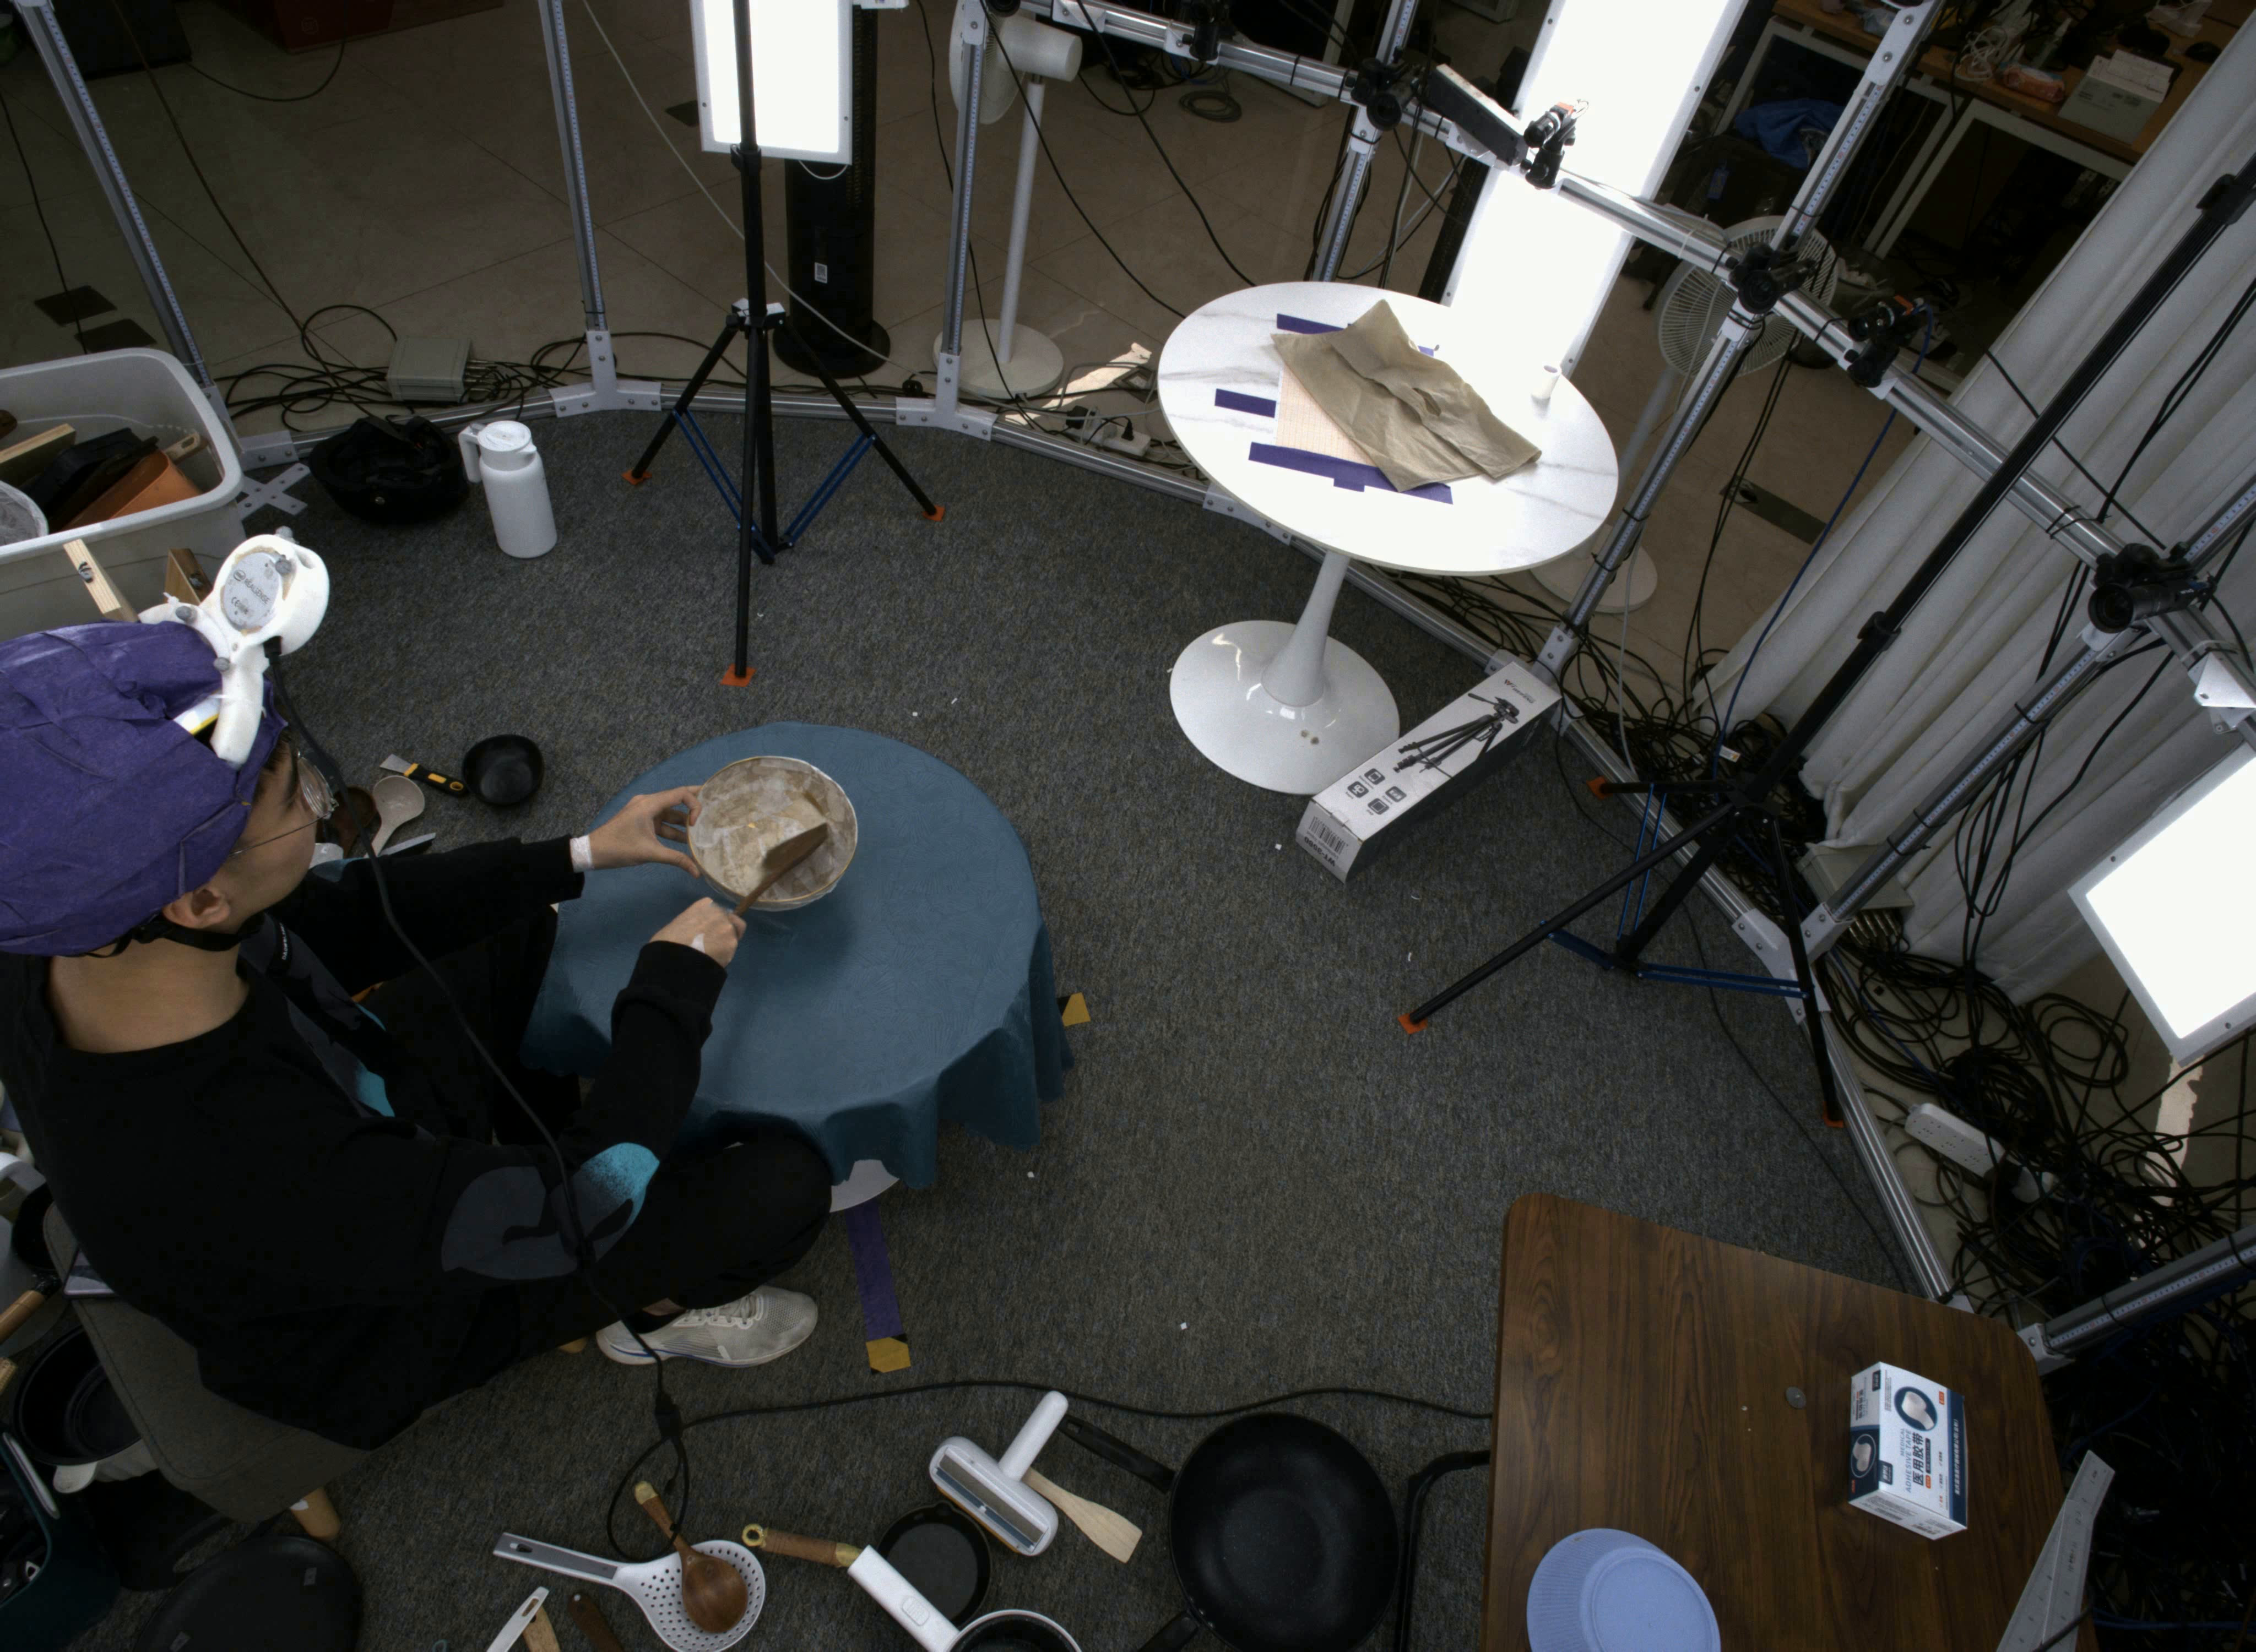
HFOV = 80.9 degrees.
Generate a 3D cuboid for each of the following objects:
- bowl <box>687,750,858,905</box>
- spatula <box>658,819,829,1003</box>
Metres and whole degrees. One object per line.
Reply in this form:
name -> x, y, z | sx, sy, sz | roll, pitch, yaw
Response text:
bowl -> -0.443, 0.016, 1.579 | 0.217, 0.095, 0.211 | 17, 51, -21
spatula -> -0.437, 0.089, 1.466 | 0.016, 0.094, 0.381 | 58, 23, -16
